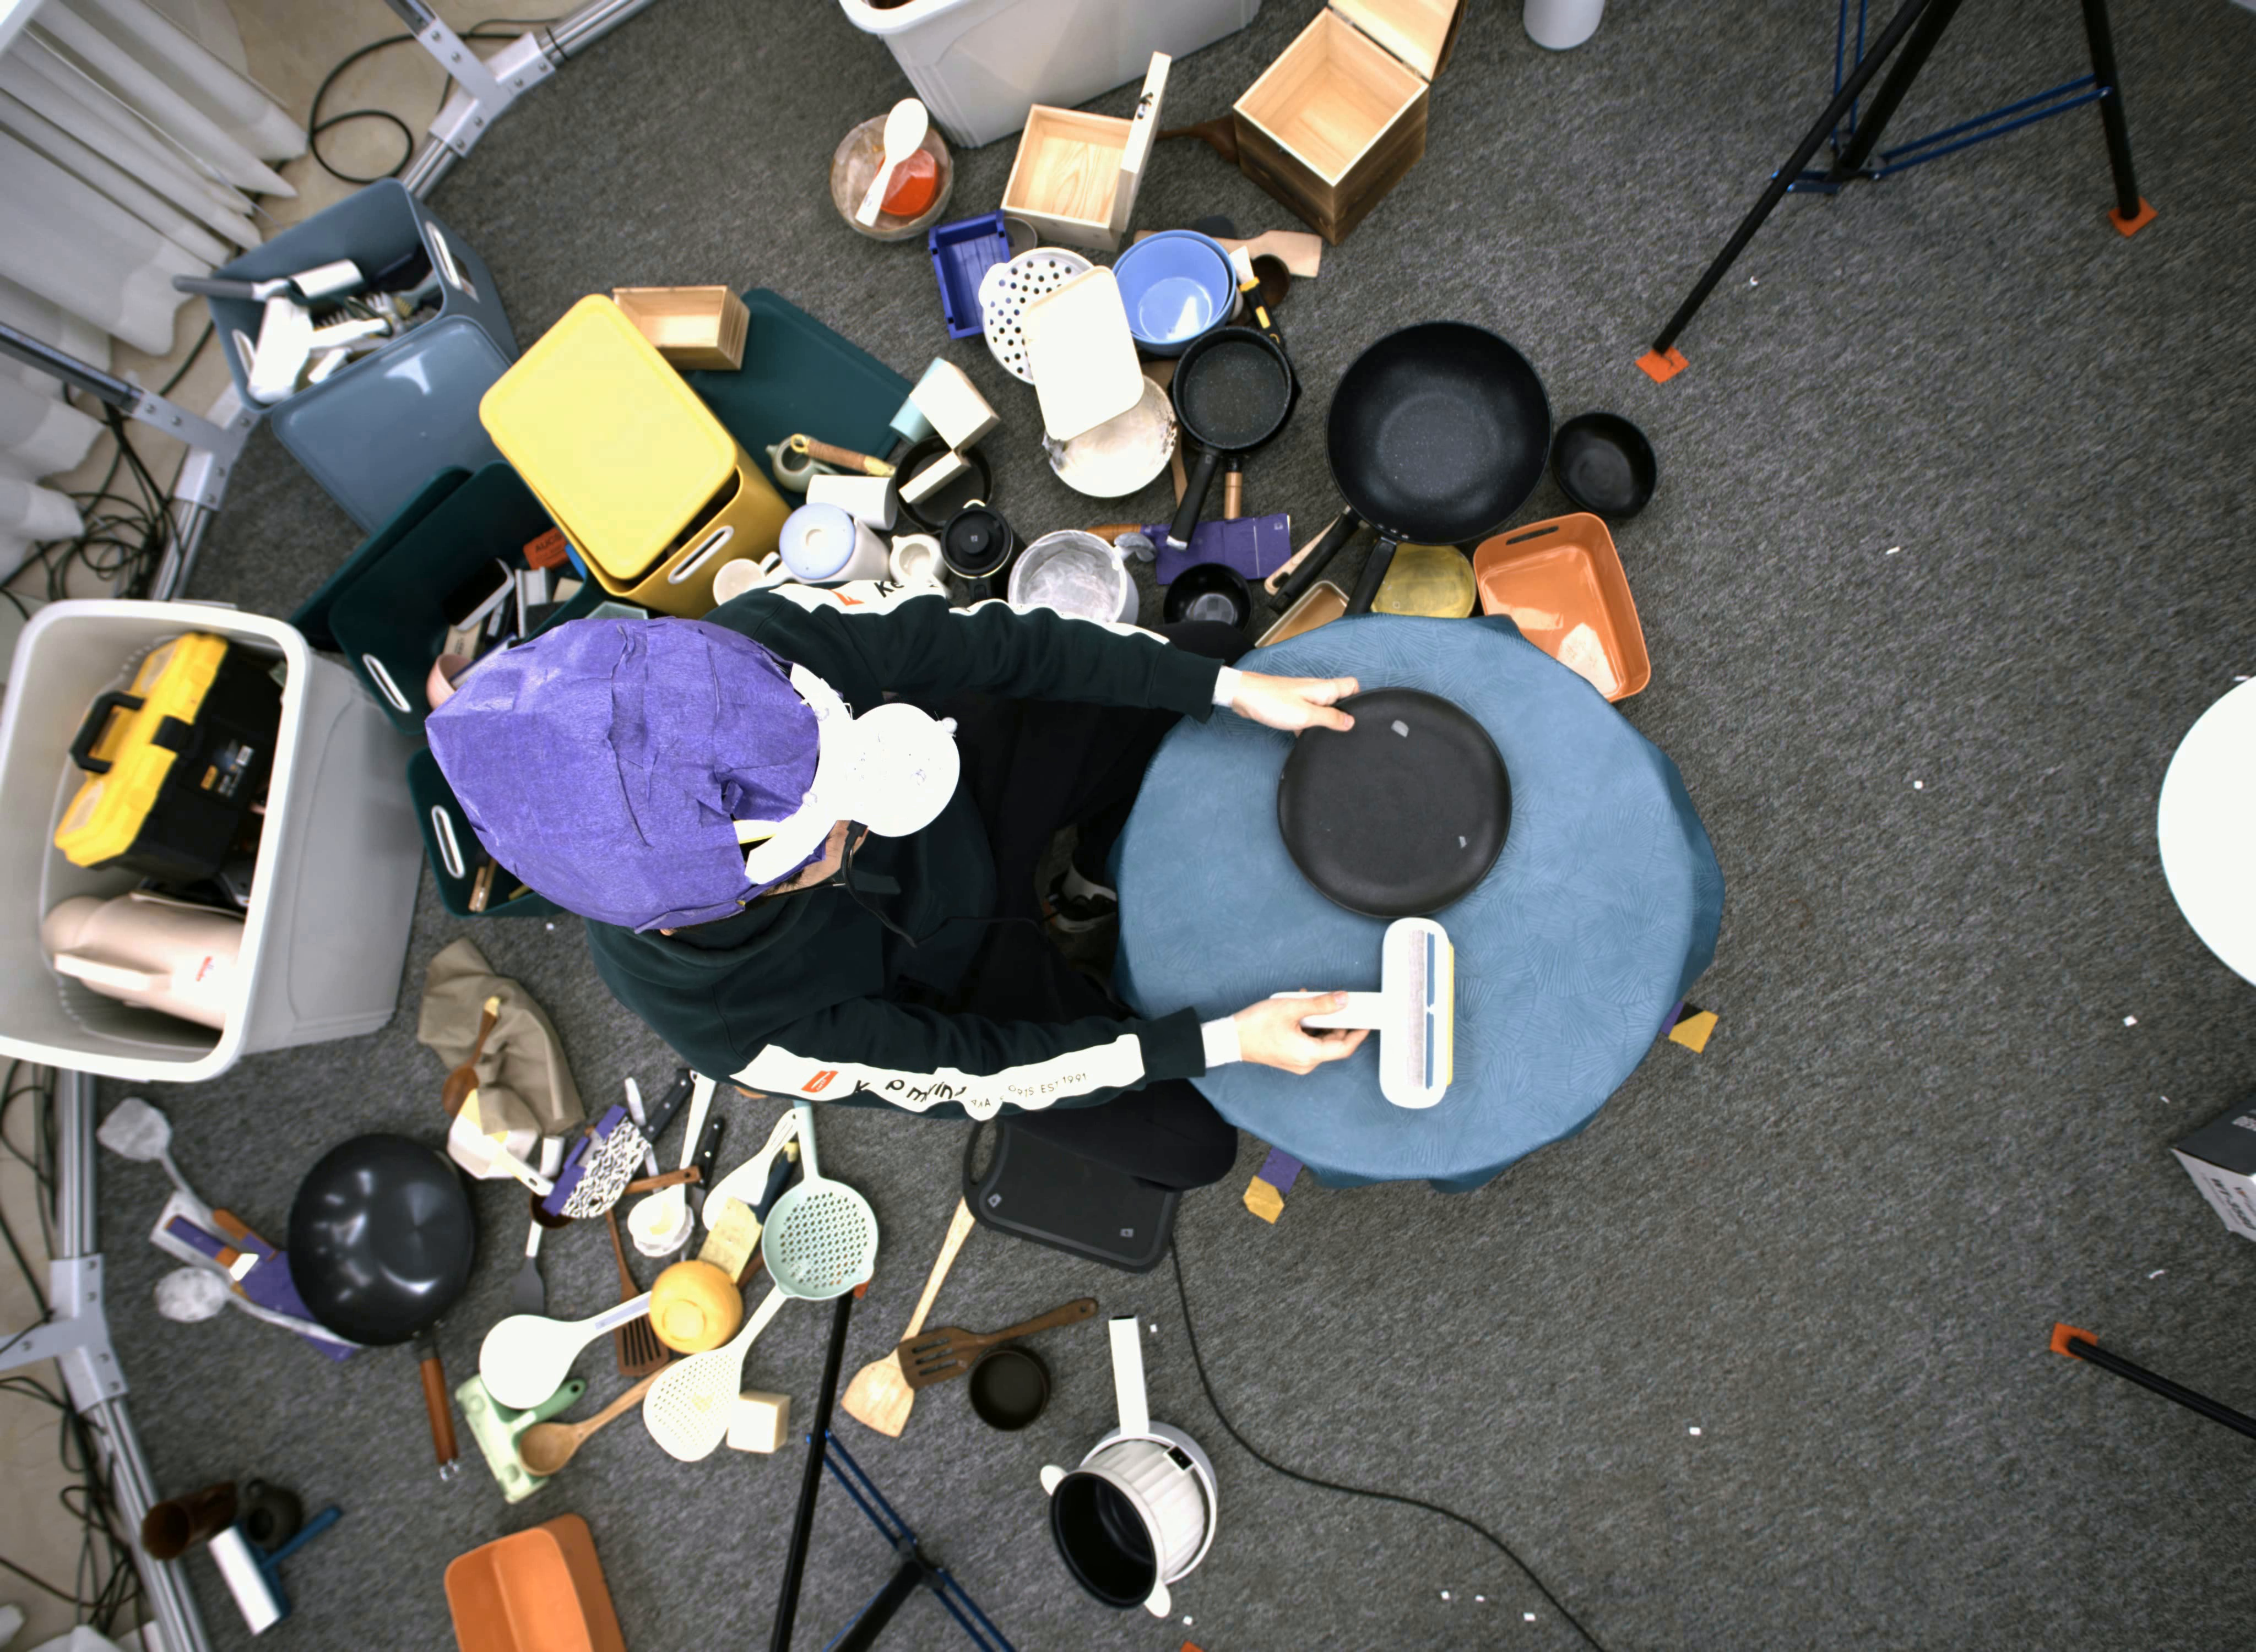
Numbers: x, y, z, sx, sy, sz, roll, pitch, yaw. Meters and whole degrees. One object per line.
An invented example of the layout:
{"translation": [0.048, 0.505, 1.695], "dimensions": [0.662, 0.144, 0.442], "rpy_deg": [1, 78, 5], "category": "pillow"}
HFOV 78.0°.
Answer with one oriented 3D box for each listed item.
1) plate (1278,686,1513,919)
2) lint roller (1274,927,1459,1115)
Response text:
{"translation": [0.278, -0.026, 1.440], "dimensions": [0.245, 0.023, 0.244], "rpy_deg": [0, 91, 9], "category": "plate"}
{"translation": [0.240, 0.194, 1.437], "dimensions": [0.193, 0.074, 0.191], "rpy_deg": [5, 79, 22], "category": "lint roller"}
